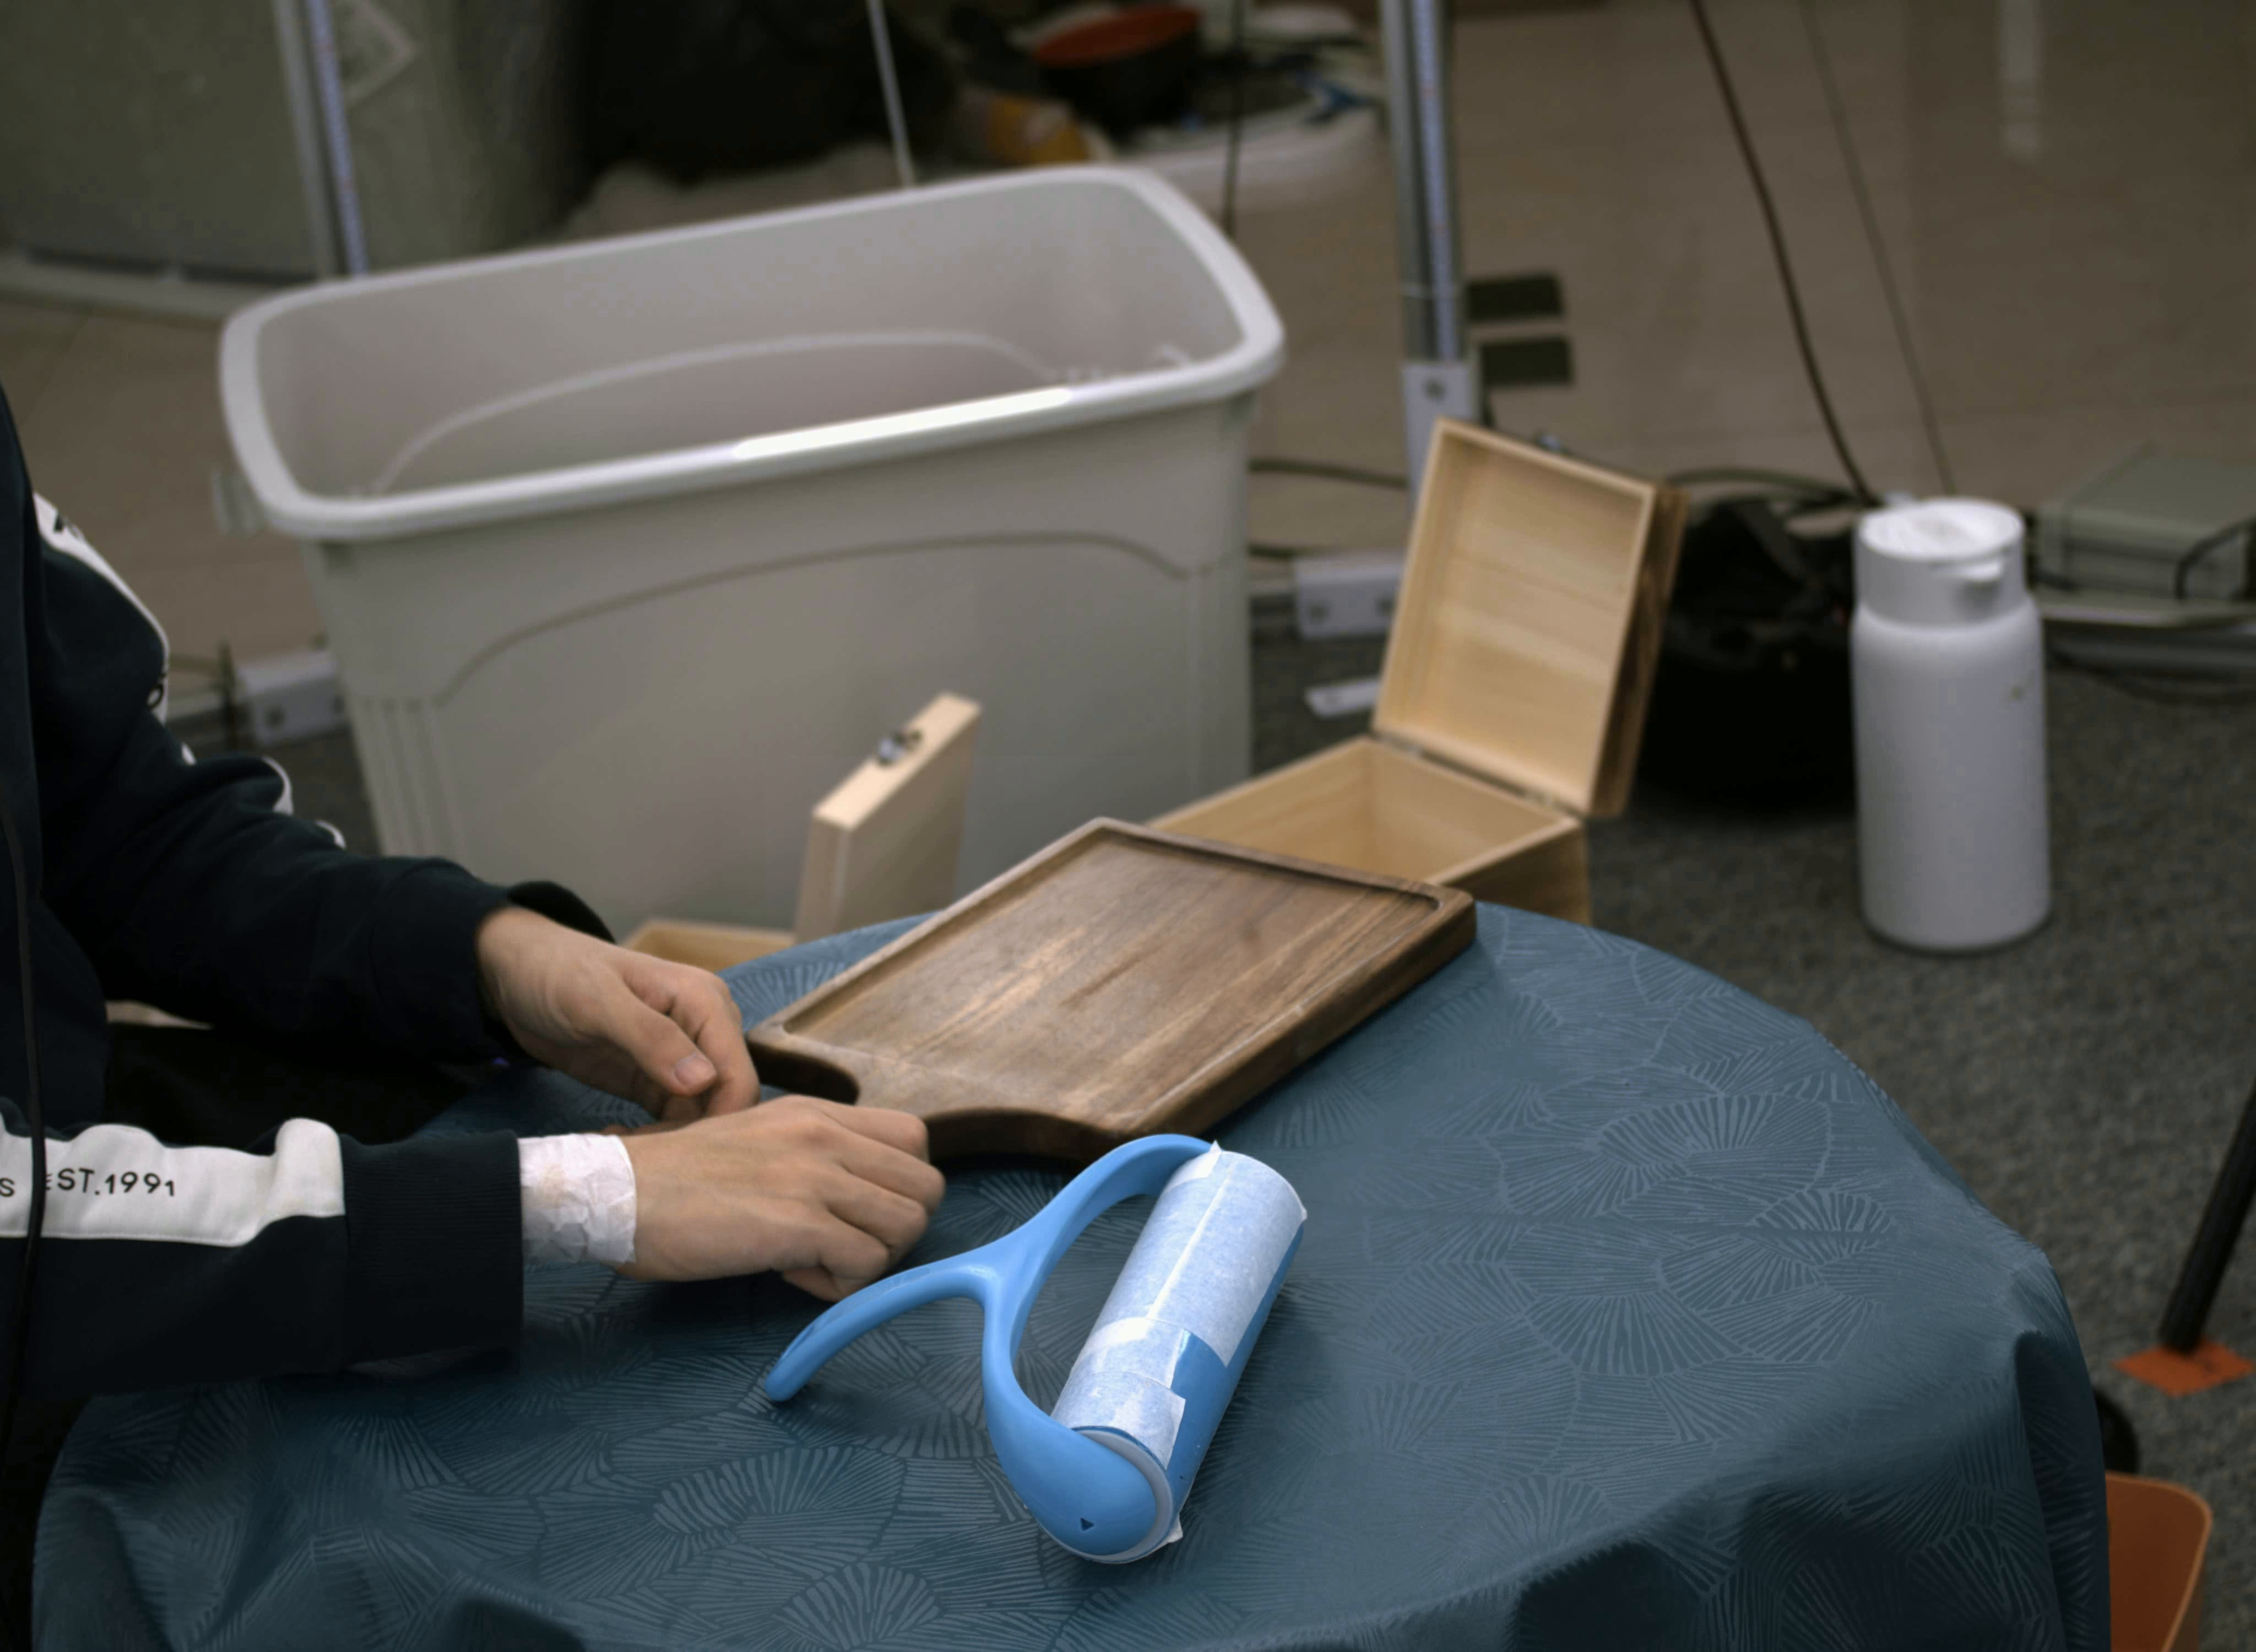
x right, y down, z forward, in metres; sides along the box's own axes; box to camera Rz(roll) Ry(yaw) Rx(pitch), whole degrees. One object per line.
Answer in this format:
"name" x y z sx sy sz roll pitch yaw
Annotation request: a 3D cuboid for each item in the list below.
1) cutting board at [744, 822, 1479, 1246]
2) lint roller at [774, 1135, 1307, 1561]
"cutting board" -0.032 0.082 2.233 0.200 0.023 0.348 10 28 34
"lint roller" -0.042 0.181 1.996 0.180 0.069 0.225 1 28 13
